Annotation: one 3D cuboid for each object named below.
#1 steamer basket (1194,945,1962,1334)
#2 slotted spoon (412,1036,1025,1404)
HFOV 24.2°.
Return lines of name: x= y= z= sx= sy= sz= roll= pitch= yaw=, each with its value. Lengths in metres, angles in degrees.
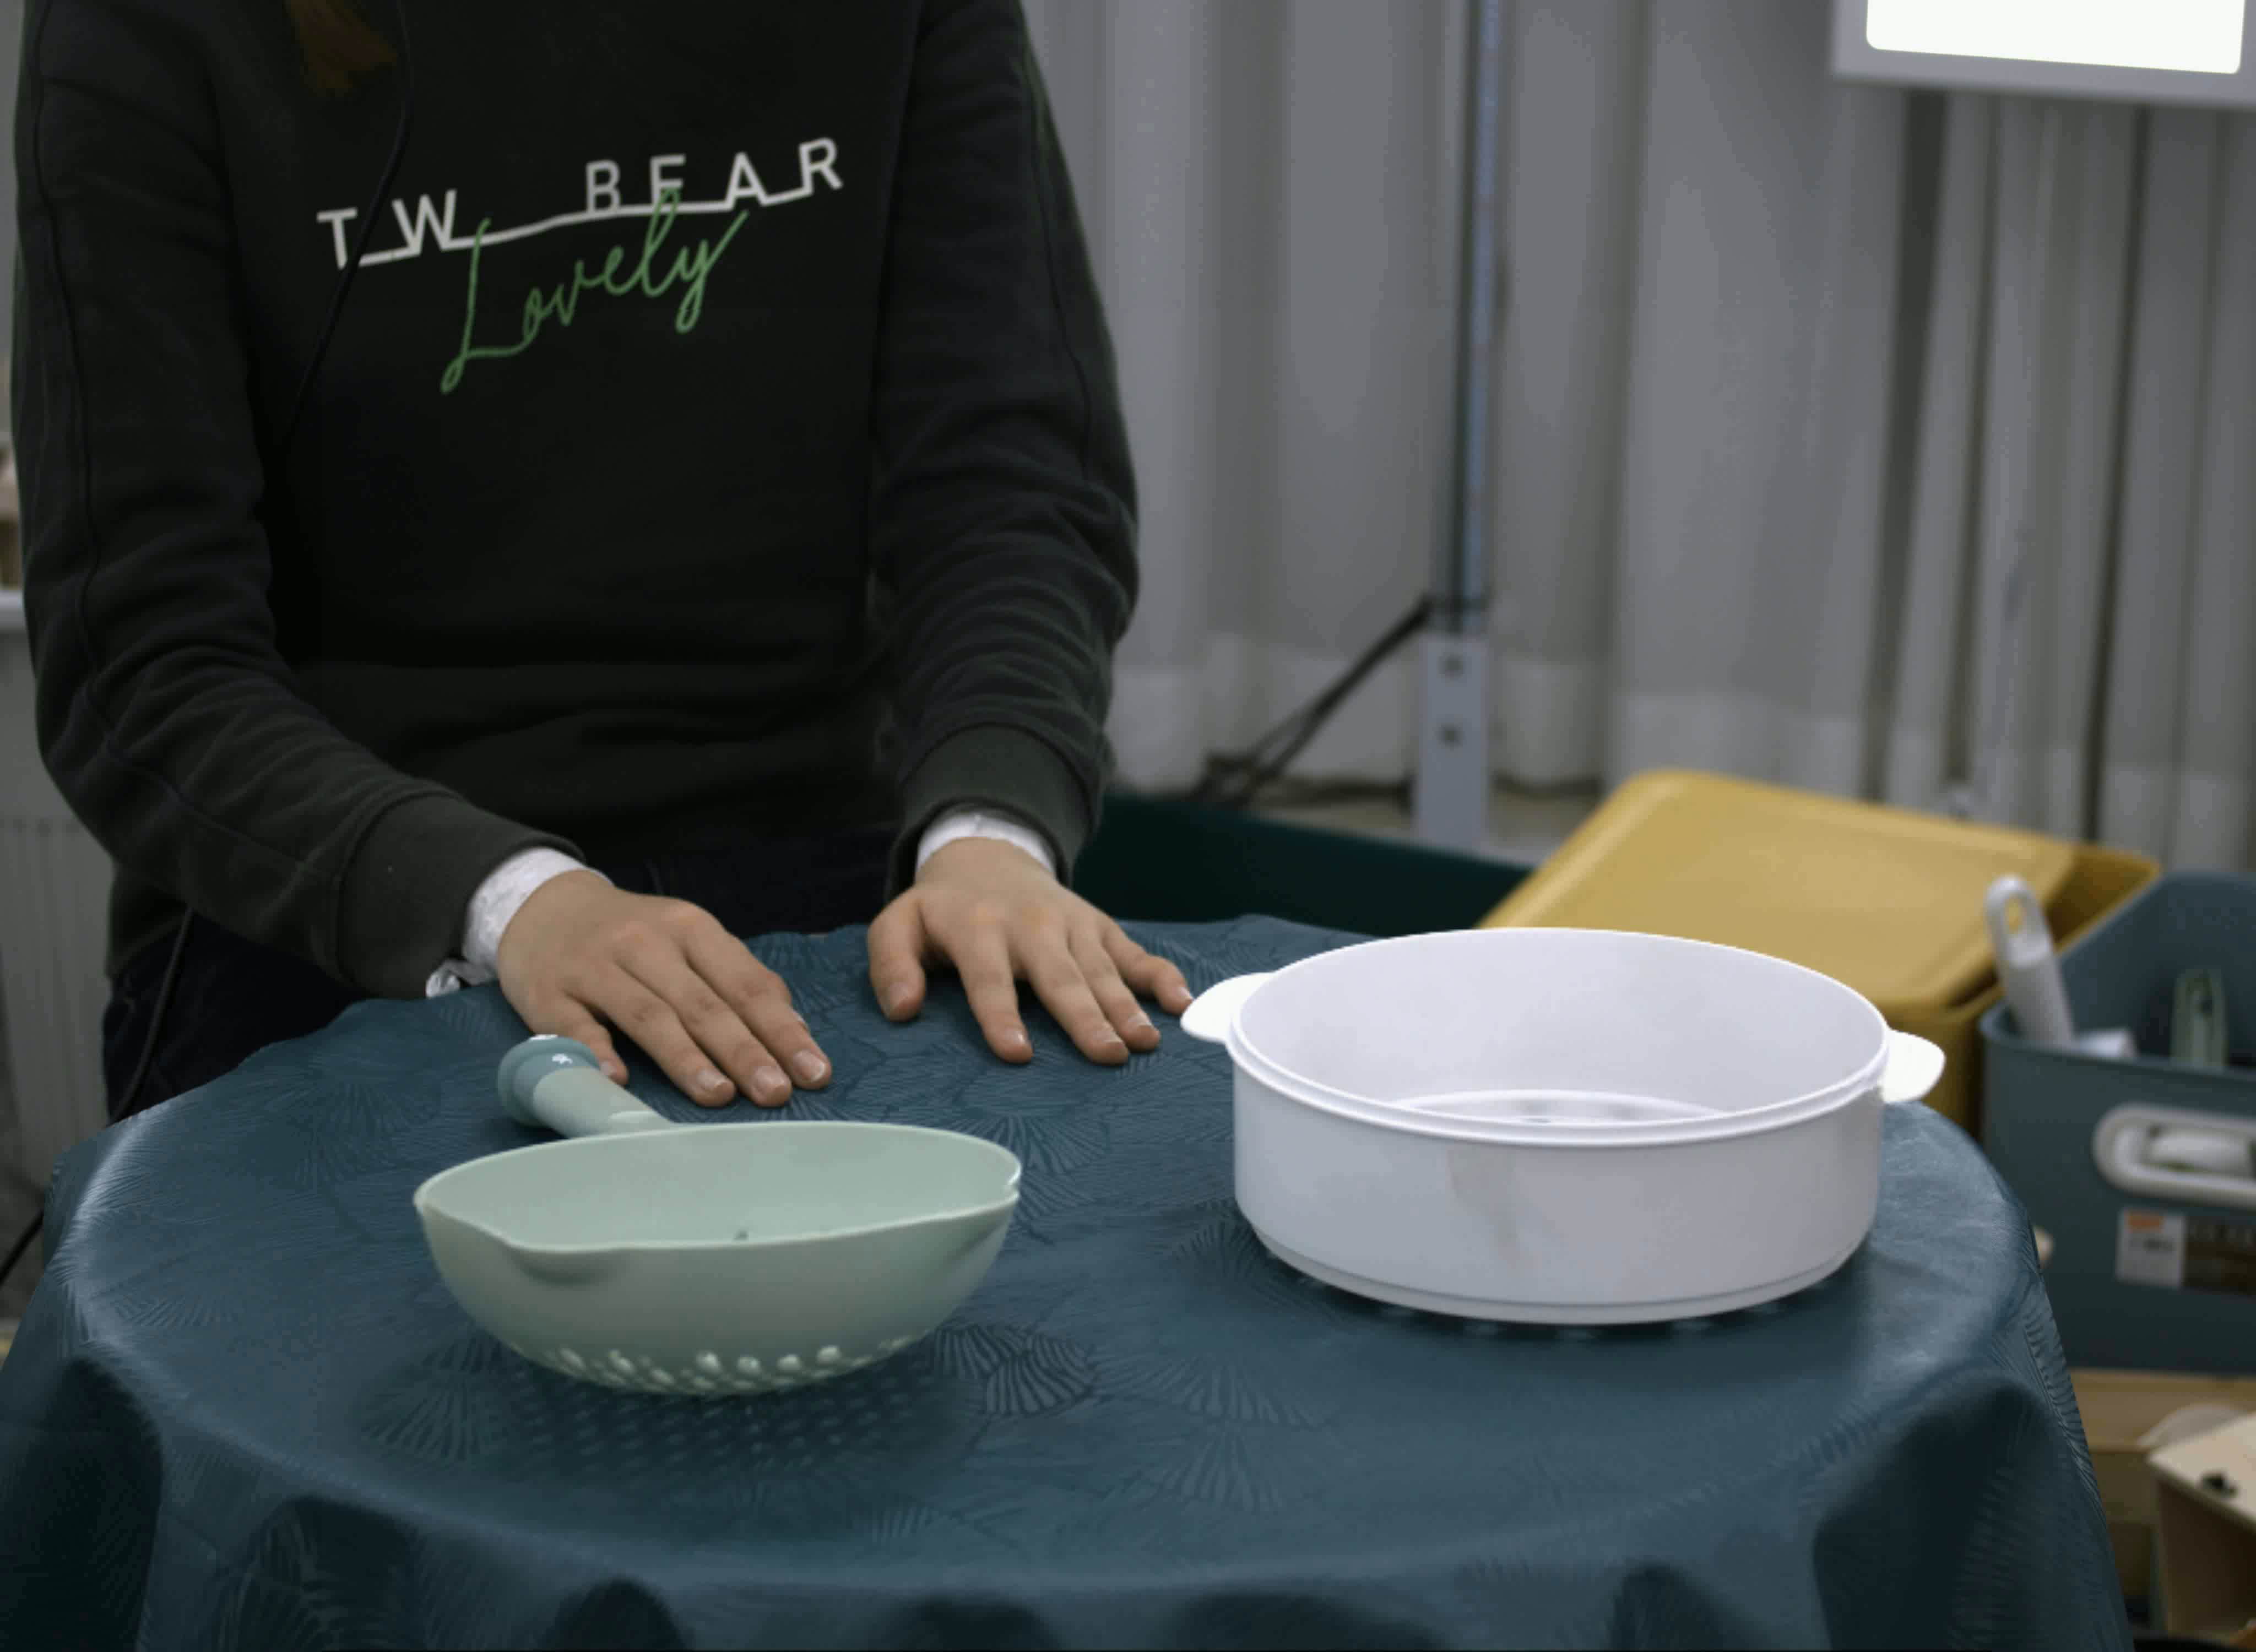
steamer basket: x=0.133 y=0.093 z=1.584 sx=0.228 sy=0.070 sz=0.202 roll=5 pitch=15 yaw=16
slotted spoon: x=-0.142 y=0.099 z=1.549 sx=0.170 sy=0.076 sz=0.355 roll=-4 pitch=16 yaw=-17
